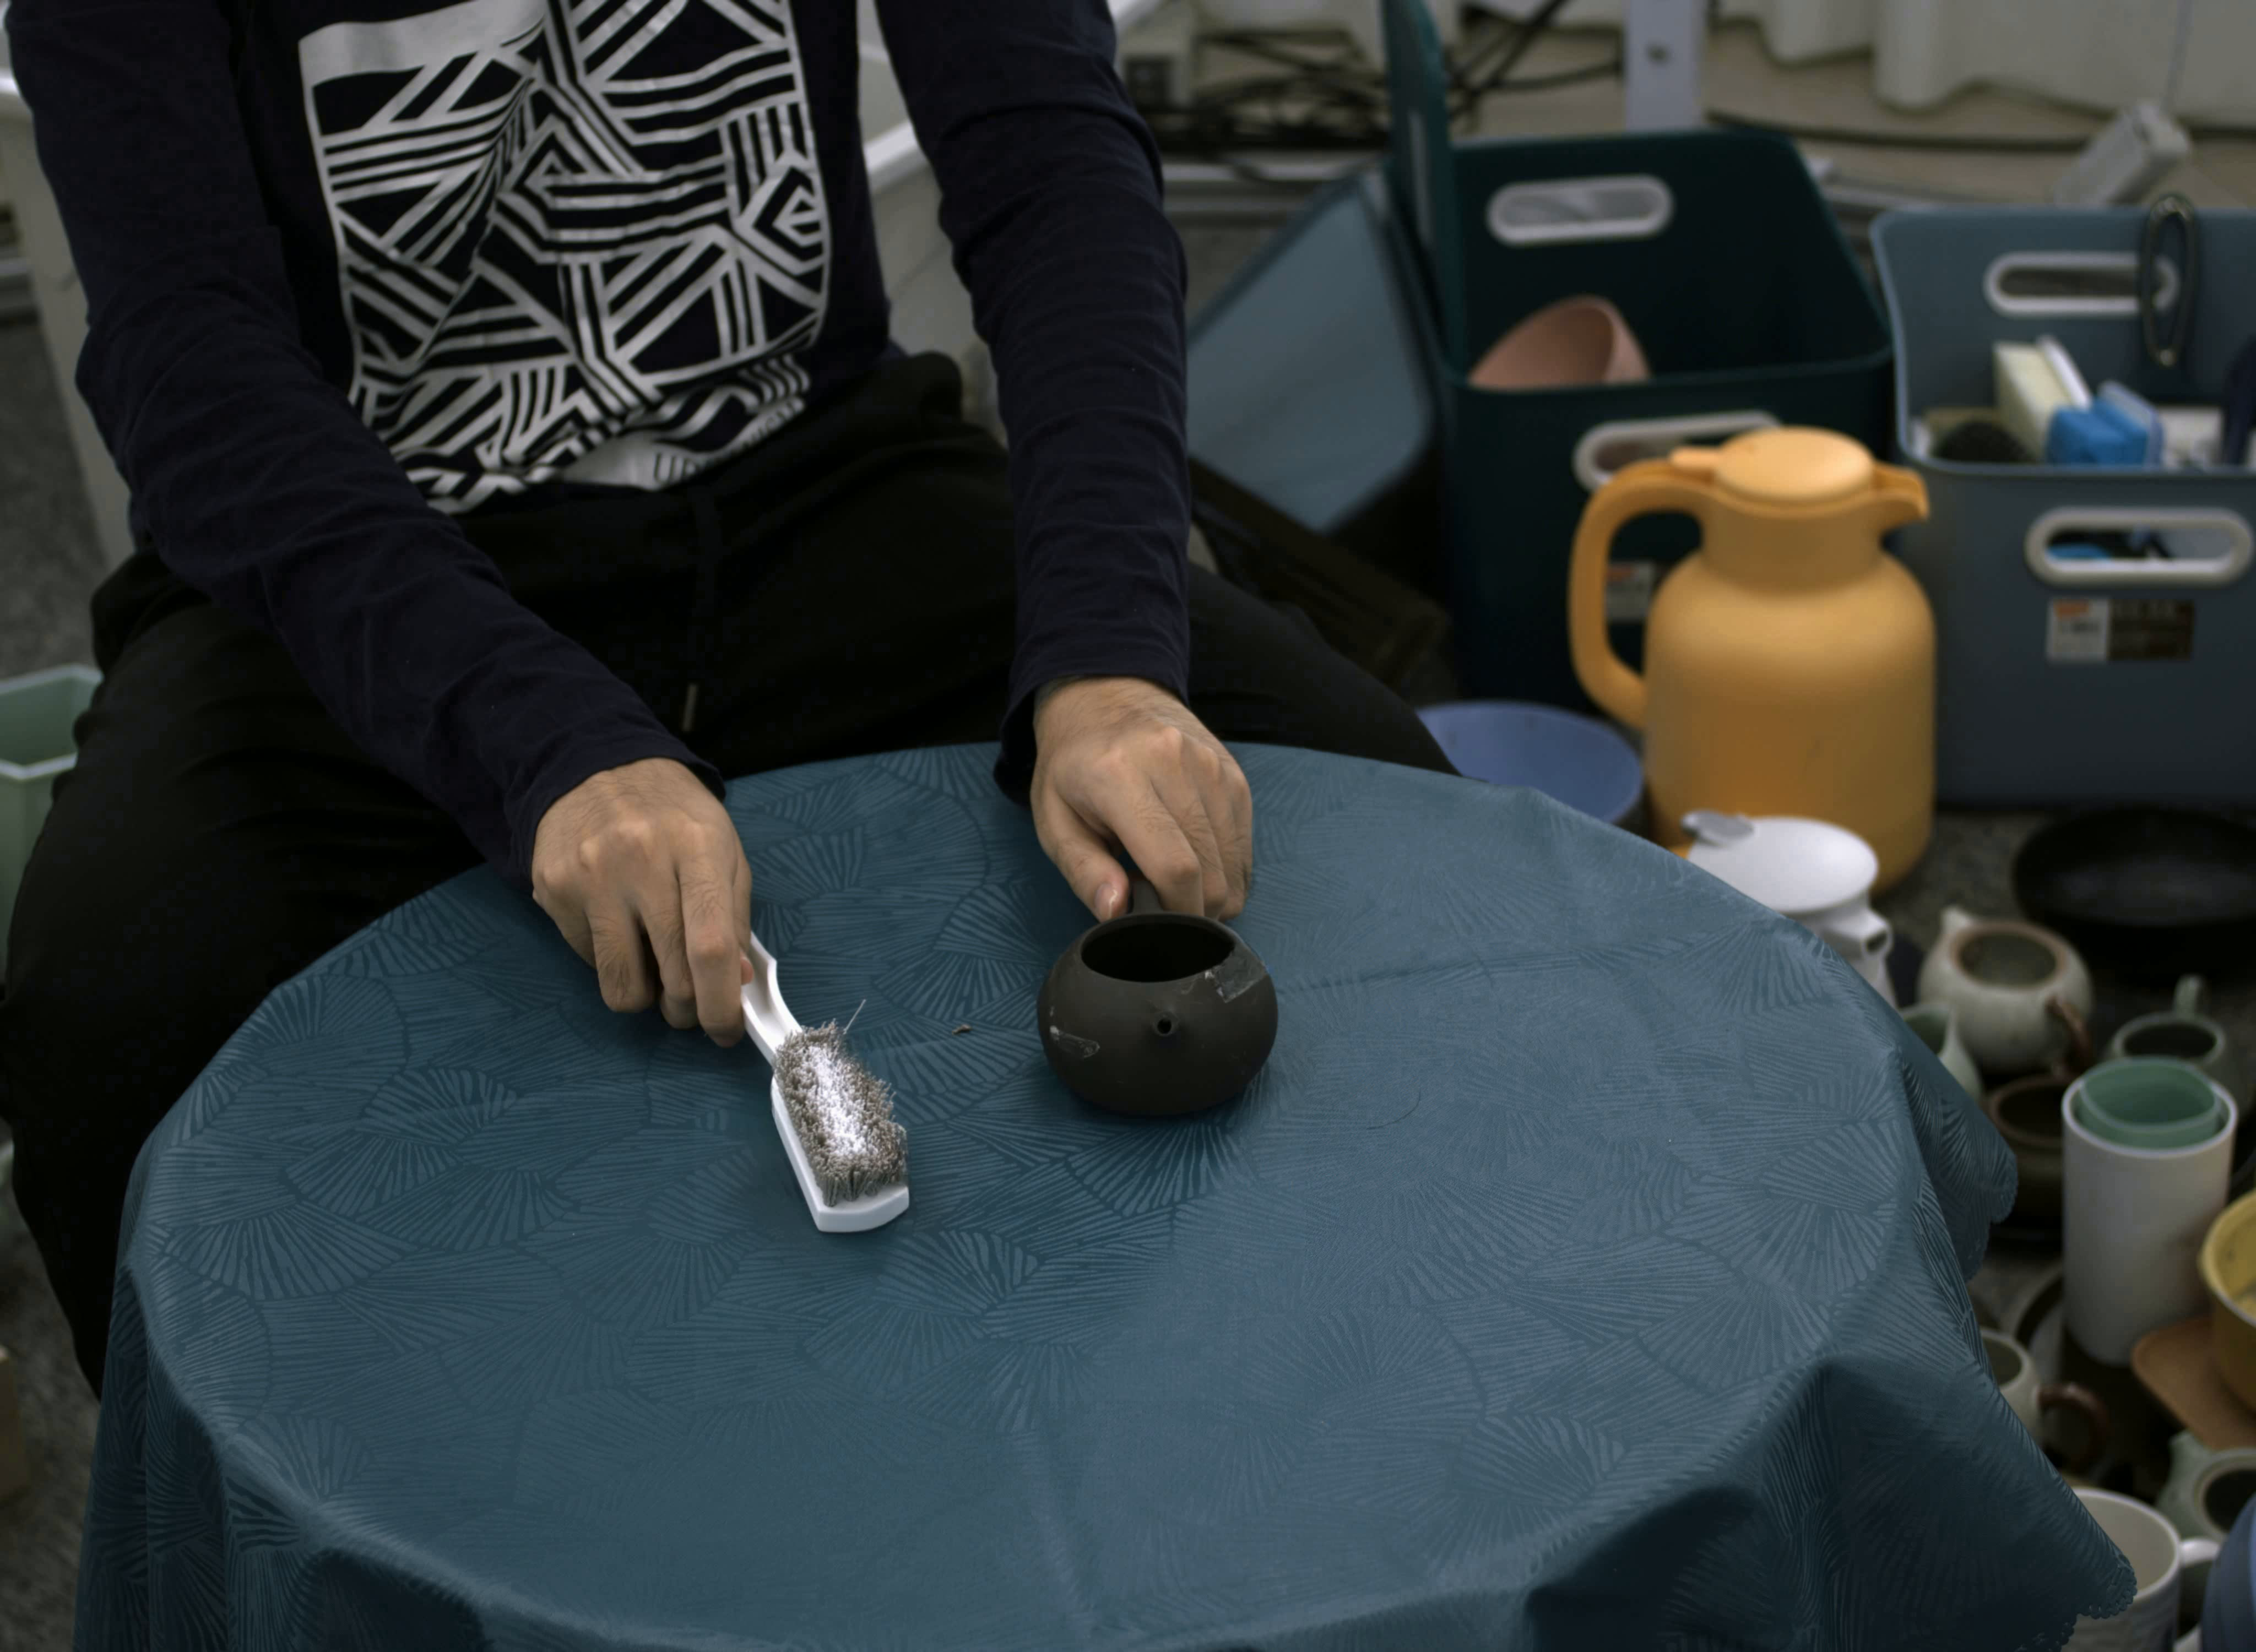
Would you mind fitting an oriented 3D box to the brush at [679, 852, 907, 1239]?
[{"bbox_3d":[-0.120,0.058,1.922,0.034,0.049,0.246,-14,34,-11],"label":"brush"}]

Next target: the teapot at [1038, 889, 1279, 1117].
[{"bbox_3d":[0.010,0.058,1.926,0.082,0.052,0.116,-5,27,-1],"label":"teapot"}]
